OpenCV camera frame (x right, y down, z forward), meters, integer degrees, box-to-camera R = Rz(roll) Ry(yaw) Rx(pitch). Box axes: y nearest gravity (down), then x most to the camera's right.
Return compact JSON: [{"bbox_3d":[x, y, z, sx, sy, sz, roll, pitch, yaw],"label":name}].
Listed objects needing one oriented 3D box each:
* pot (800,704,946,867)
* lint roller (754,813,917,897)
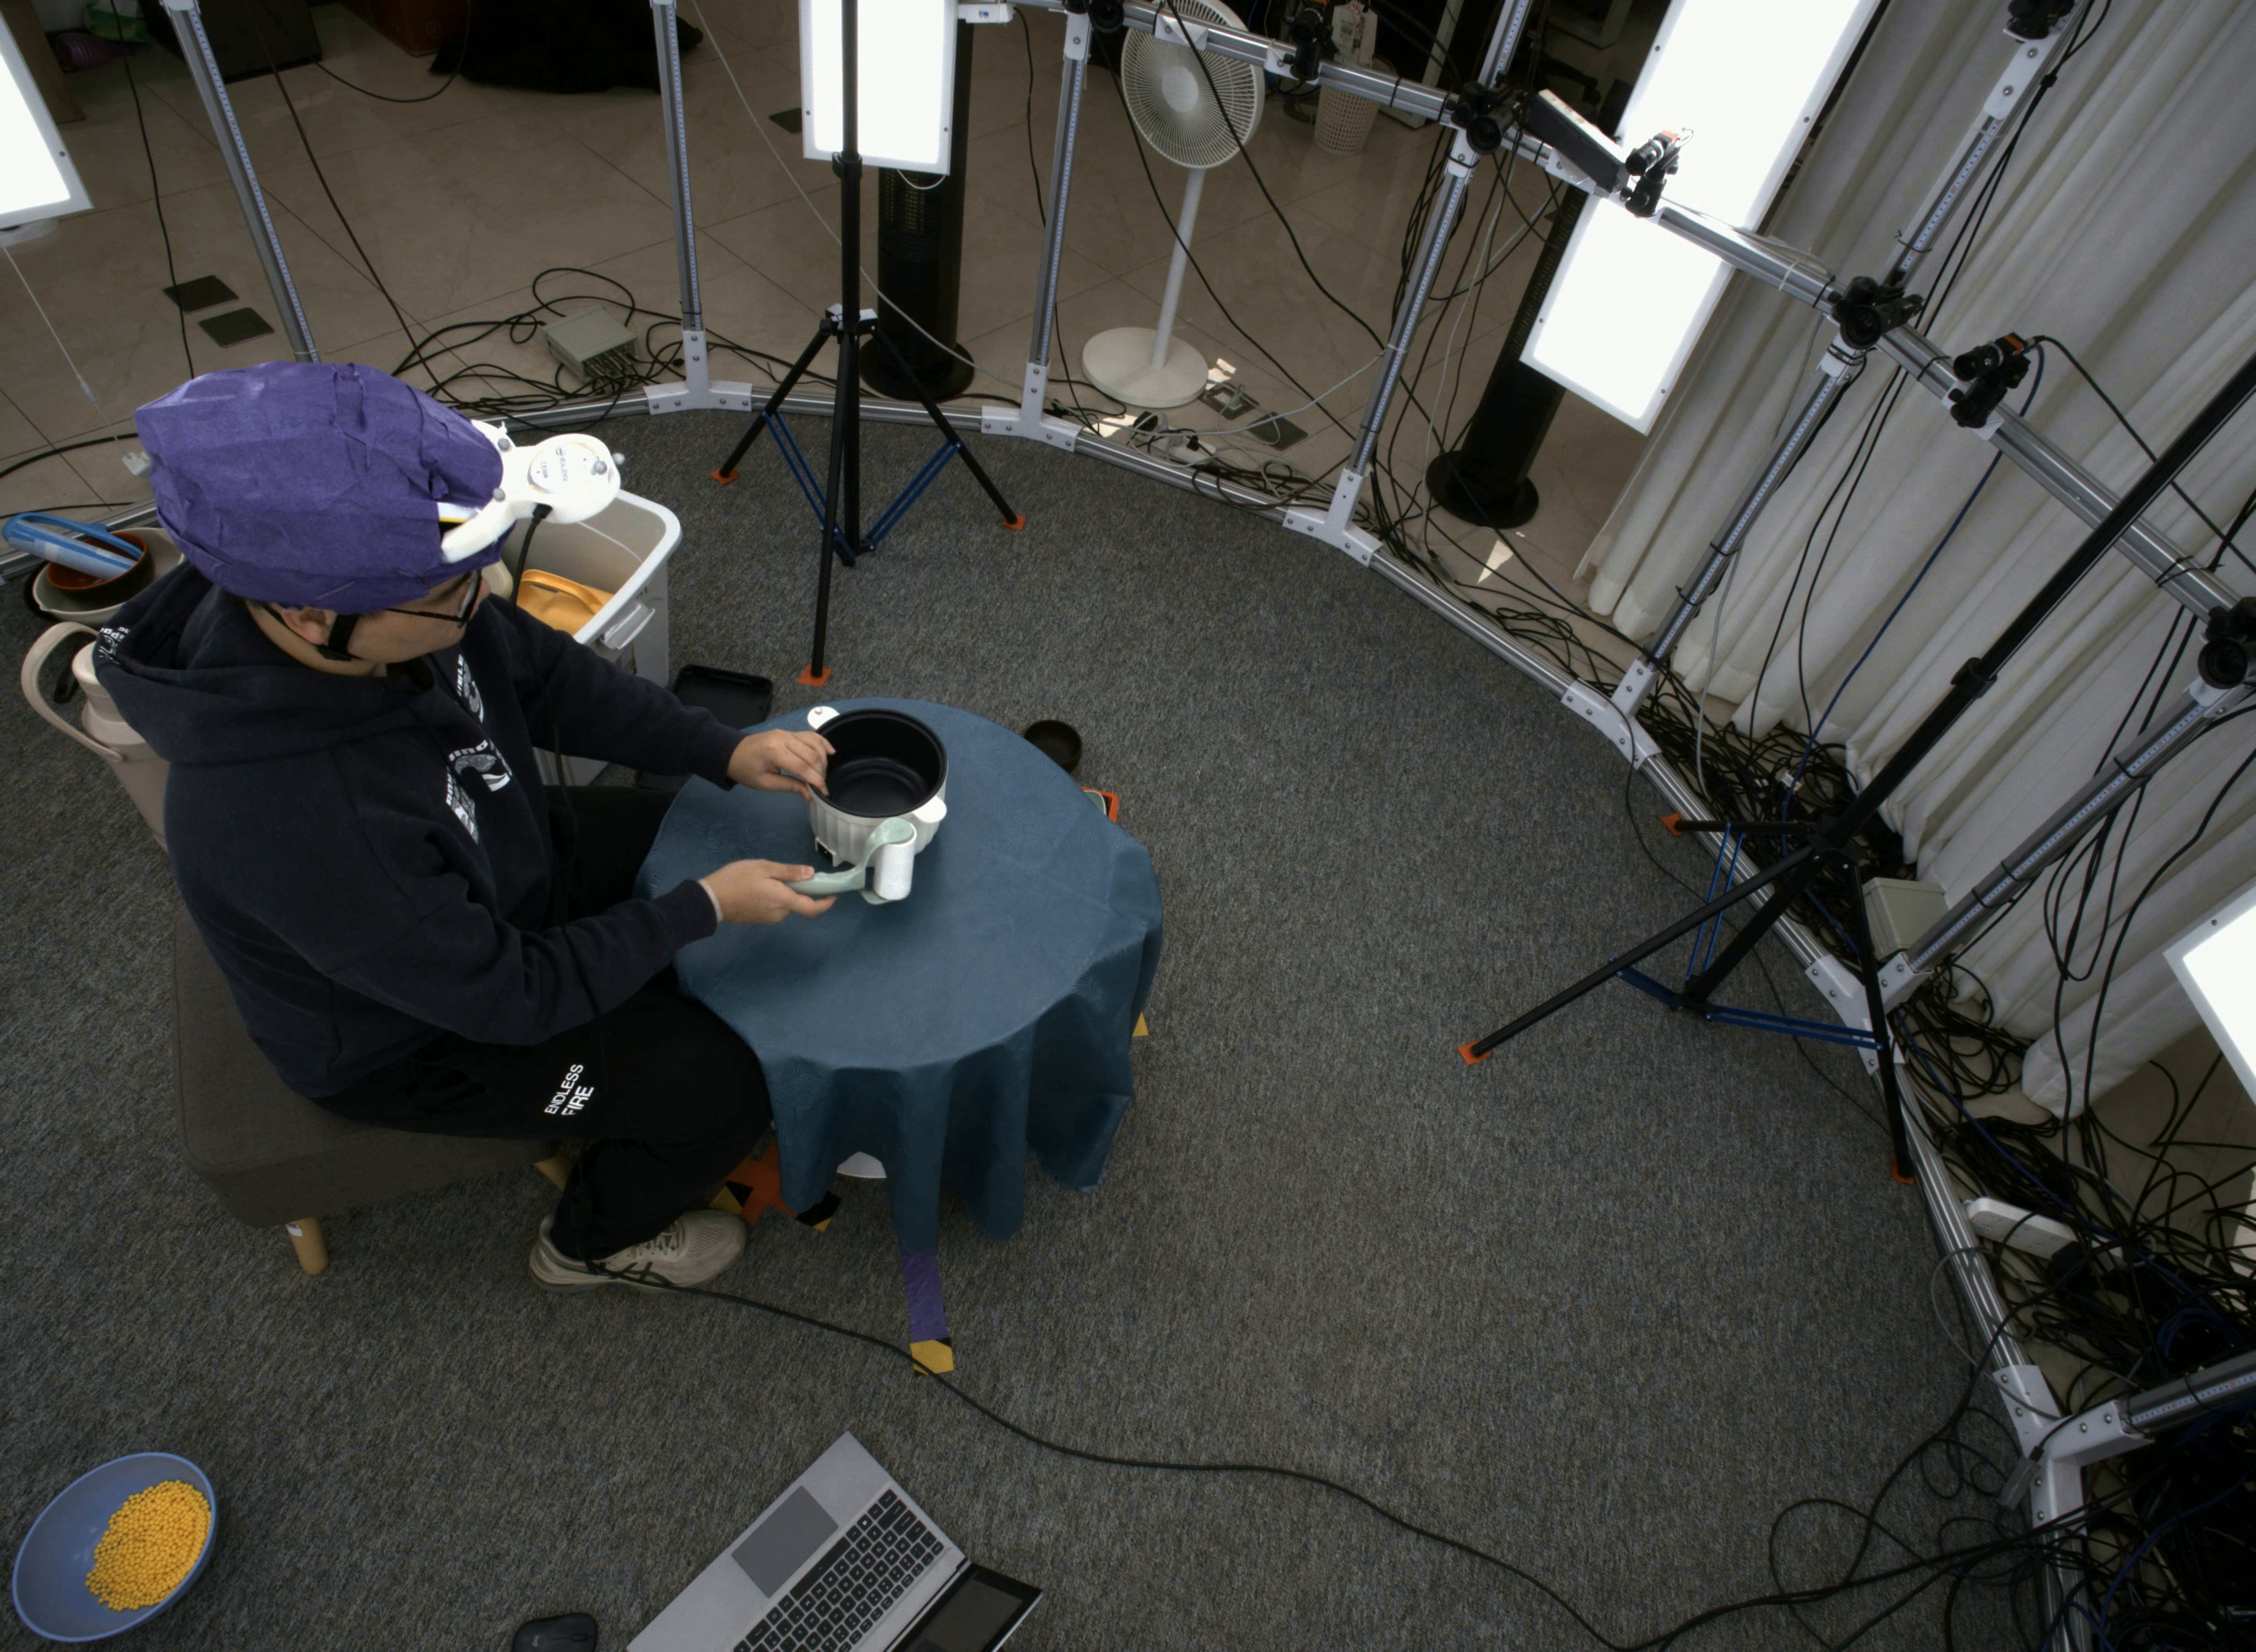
[{"bbox_3d":[-0.327,-0.048,1.691,0.235,0.145,0.190,39,58,15],"label":"pot"},{"bbox_3d":[-0.353,0.047,1.578,0.199,0.119,0.047,-13,56,-28],"label":"lint roller"}]
